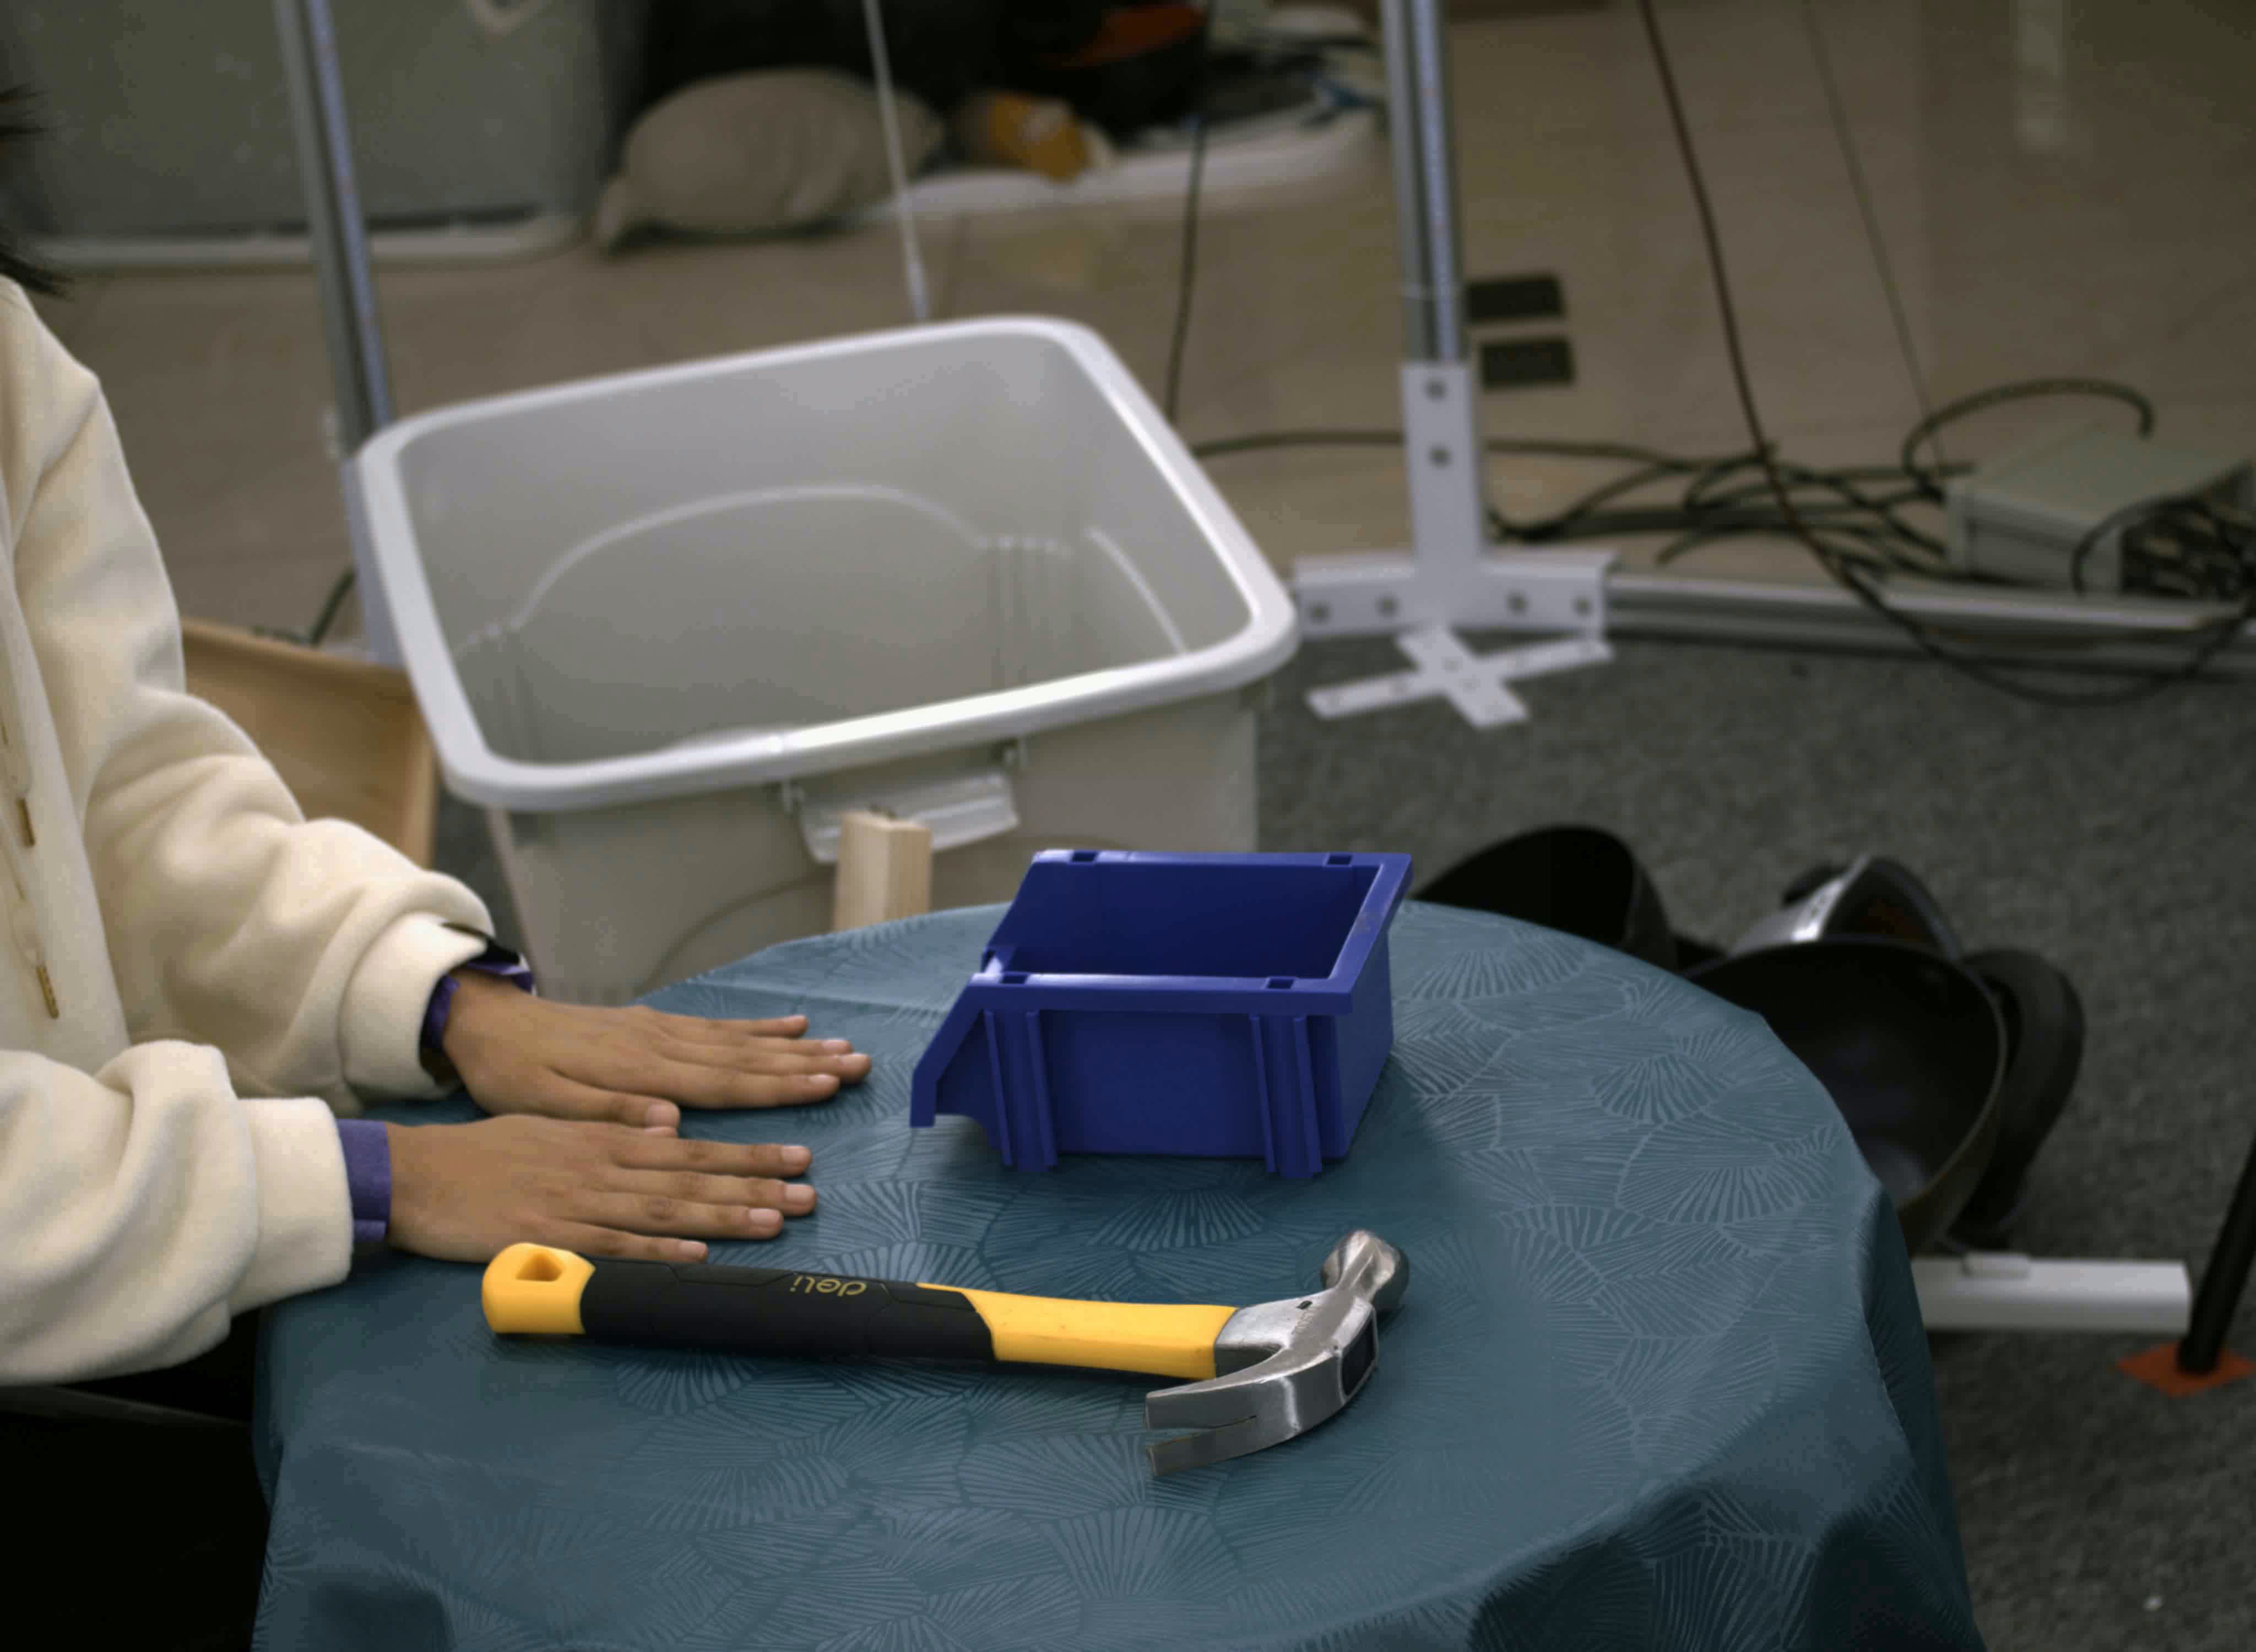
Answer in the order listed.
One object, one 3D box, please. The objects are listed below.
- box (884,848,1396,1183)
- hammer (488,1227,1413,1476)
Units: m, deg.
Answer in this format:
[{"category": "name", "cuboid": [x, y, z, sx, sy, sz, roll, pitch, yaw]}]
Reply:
[{"category": "box", "cuboid": [0.005, 0.072, 2.194, 0.179, 0.083, 0.123, 3, 27, 15]}, {"category": "hammer", "cuboid": [-0.076, 0.175, 2.048, 0.337, 0.033, 0.129, 4, 28, 21]}]
